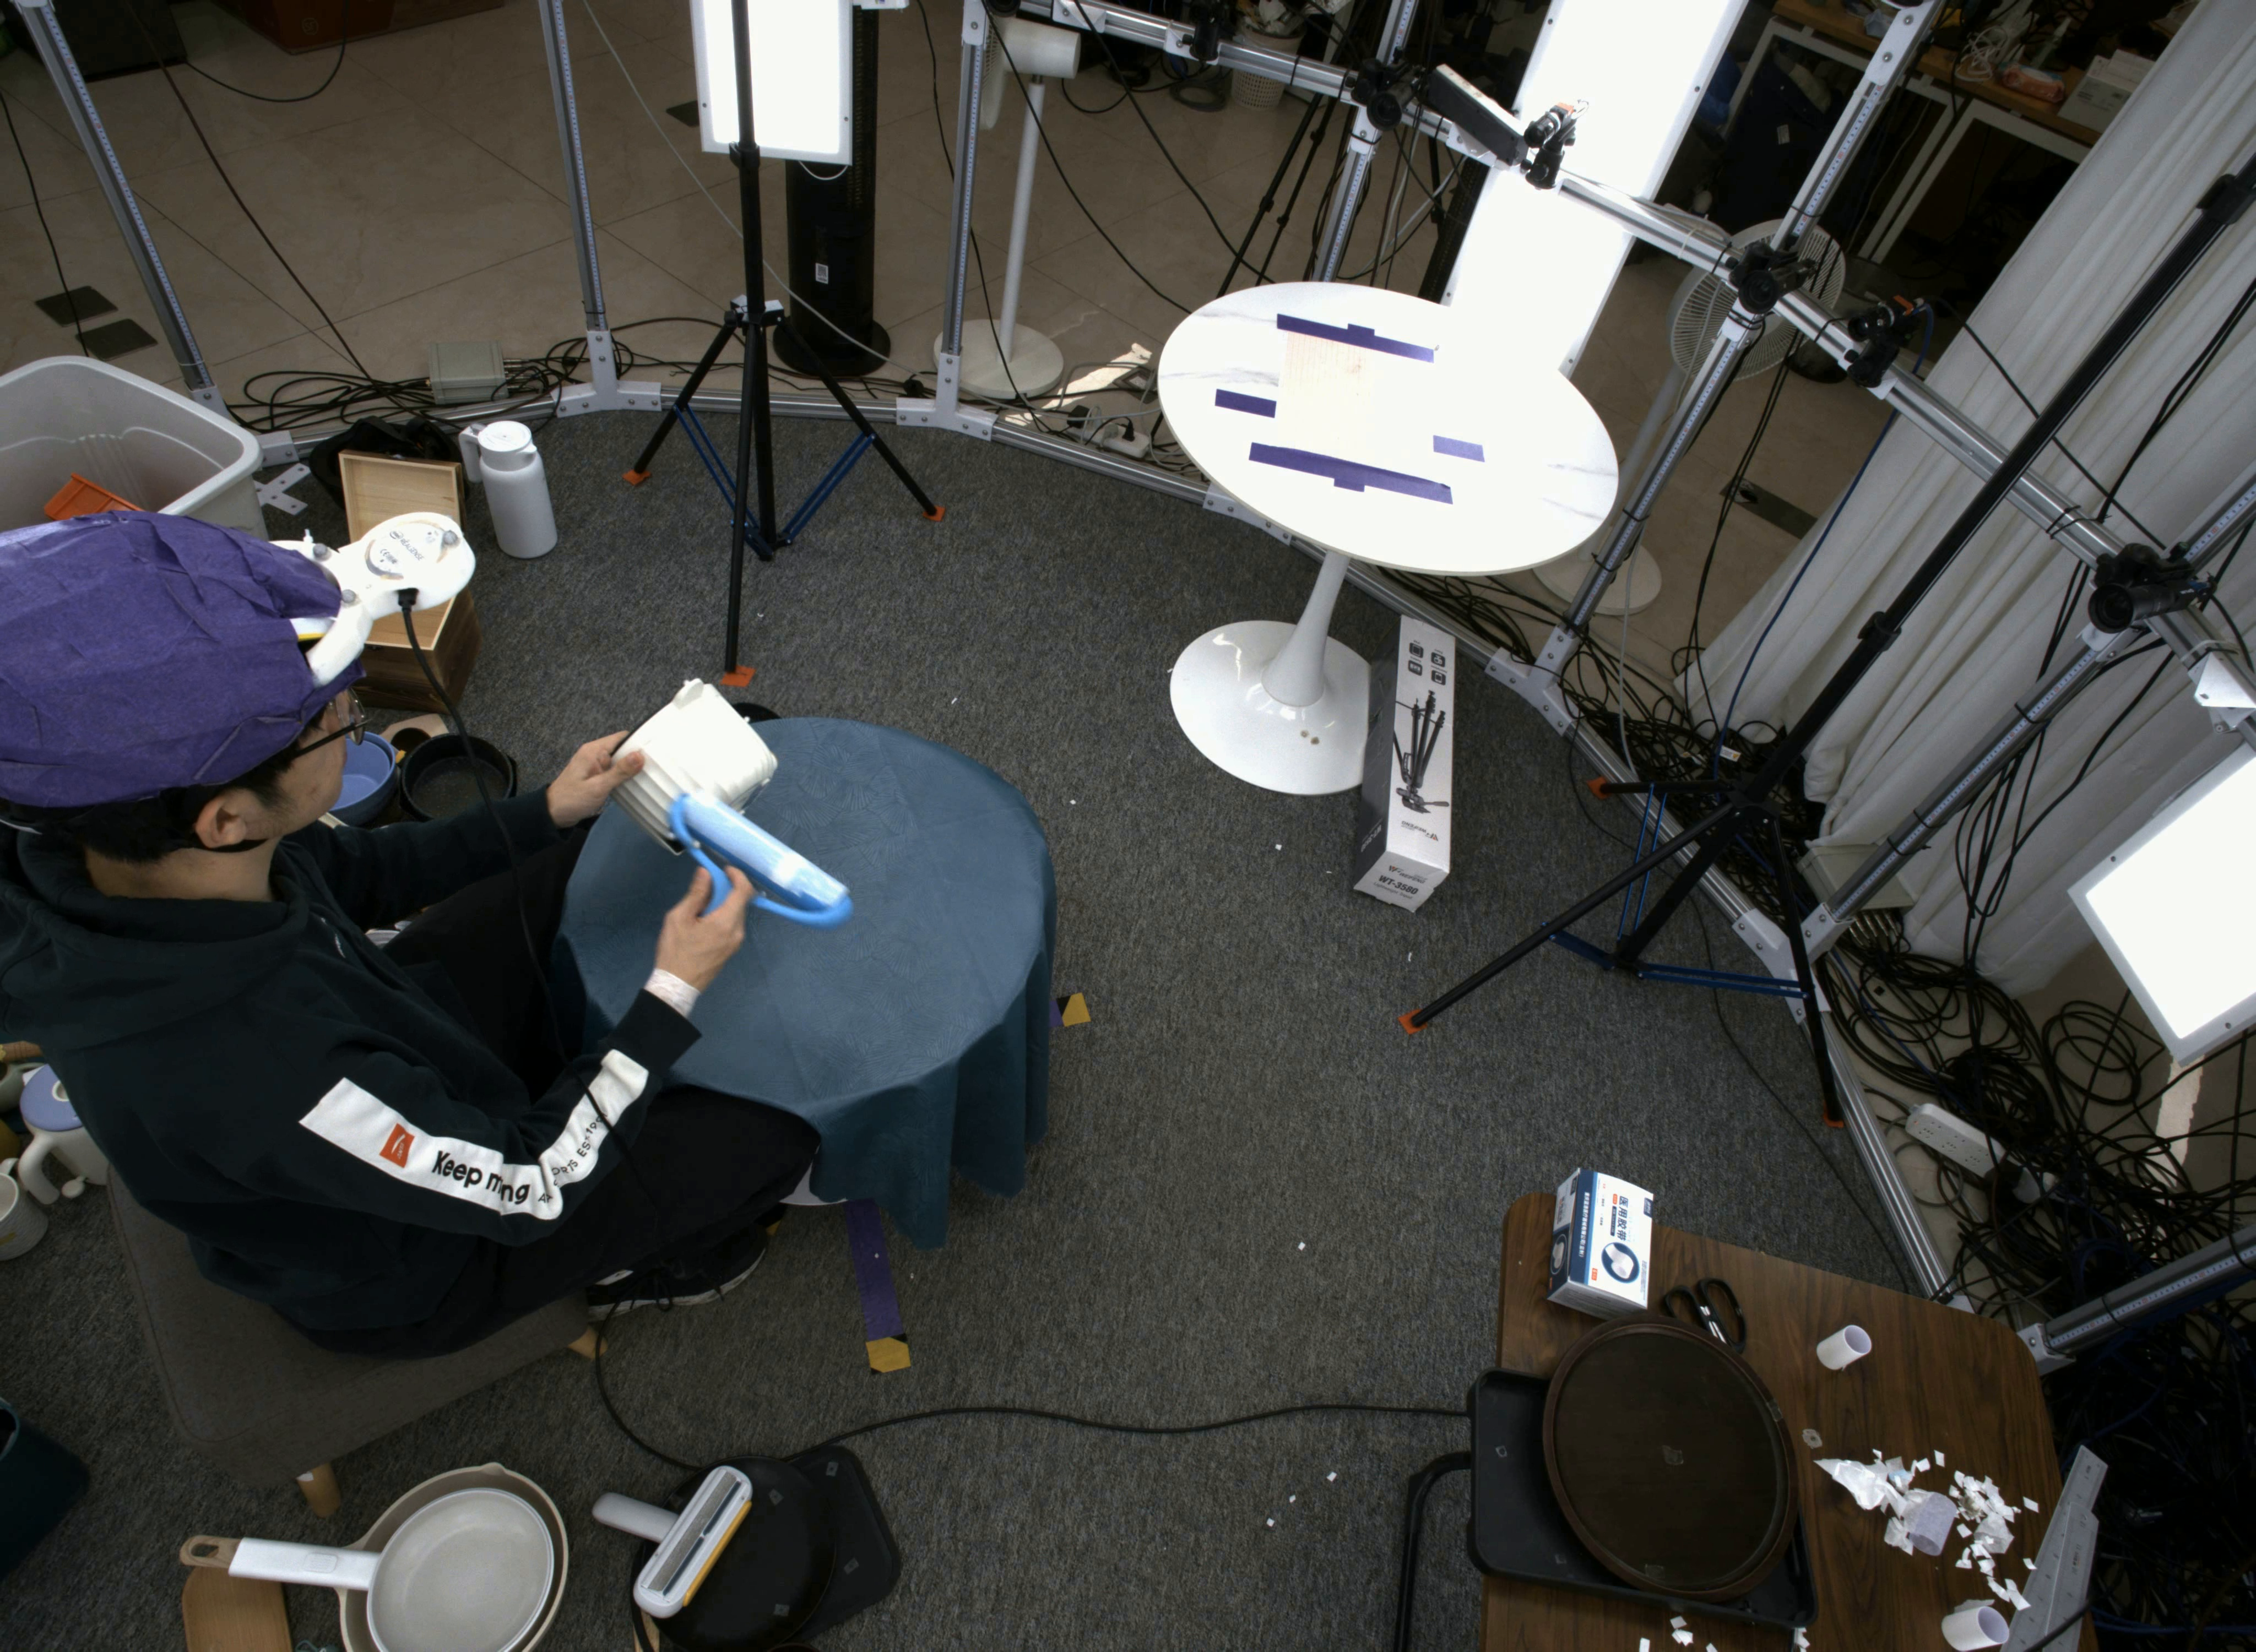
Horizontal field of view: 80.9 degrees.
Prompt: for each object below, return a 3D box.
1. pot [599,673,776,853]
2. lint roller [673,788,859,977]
[{"bbox_3d":[-0.524,-0.069,1.558,0.144,0.239,0.189,45,40,-9],"label":"pot"},{"bbox_3d":[-0.422,0.079,1.392,0.229,0.068,0.180,33,66,-6],"label":"lint roller"}]
